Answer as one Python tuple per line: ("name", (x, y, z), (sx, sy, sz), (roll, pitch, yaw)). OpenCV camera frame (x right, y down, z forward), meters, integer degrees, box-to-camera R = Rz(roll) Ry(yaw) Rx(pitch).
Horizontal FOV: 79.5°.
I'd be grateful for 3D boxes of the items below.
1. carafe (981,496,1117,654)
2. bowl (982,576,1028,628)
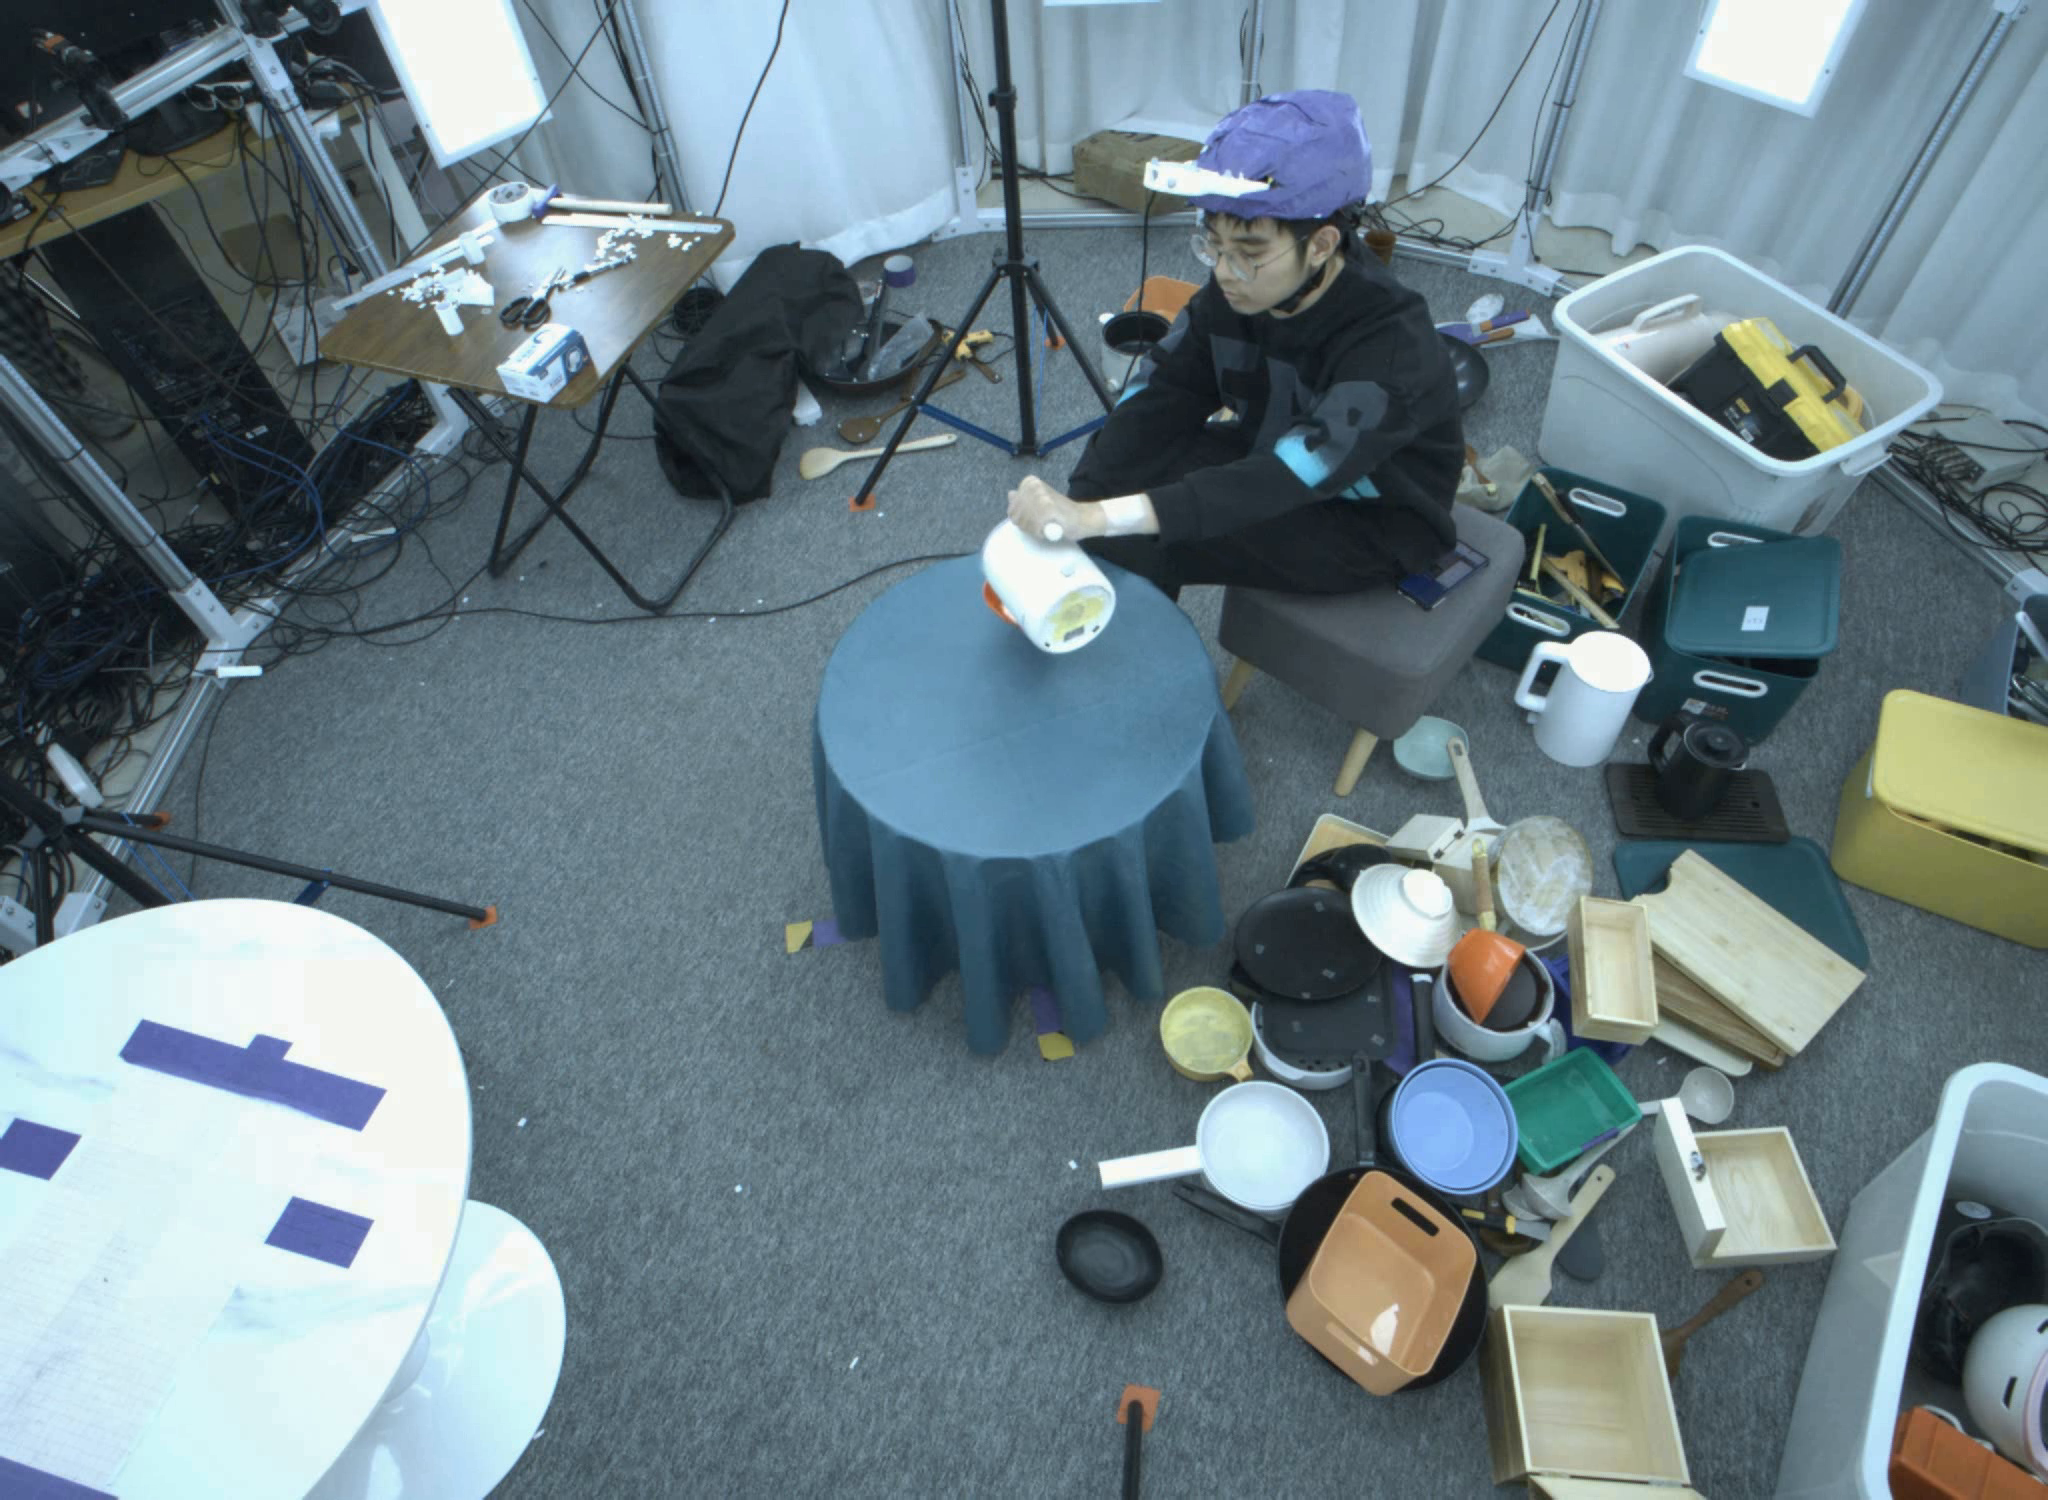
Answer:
("carafe", (0.031, -0.248, 1.666), (0.133, 0.193, 0.179), (-24, 58, -19))
("bowl", (-0.001, -0.229, 1.847), (0.118, 0.052, 0.118), (-2, 61, 5))
